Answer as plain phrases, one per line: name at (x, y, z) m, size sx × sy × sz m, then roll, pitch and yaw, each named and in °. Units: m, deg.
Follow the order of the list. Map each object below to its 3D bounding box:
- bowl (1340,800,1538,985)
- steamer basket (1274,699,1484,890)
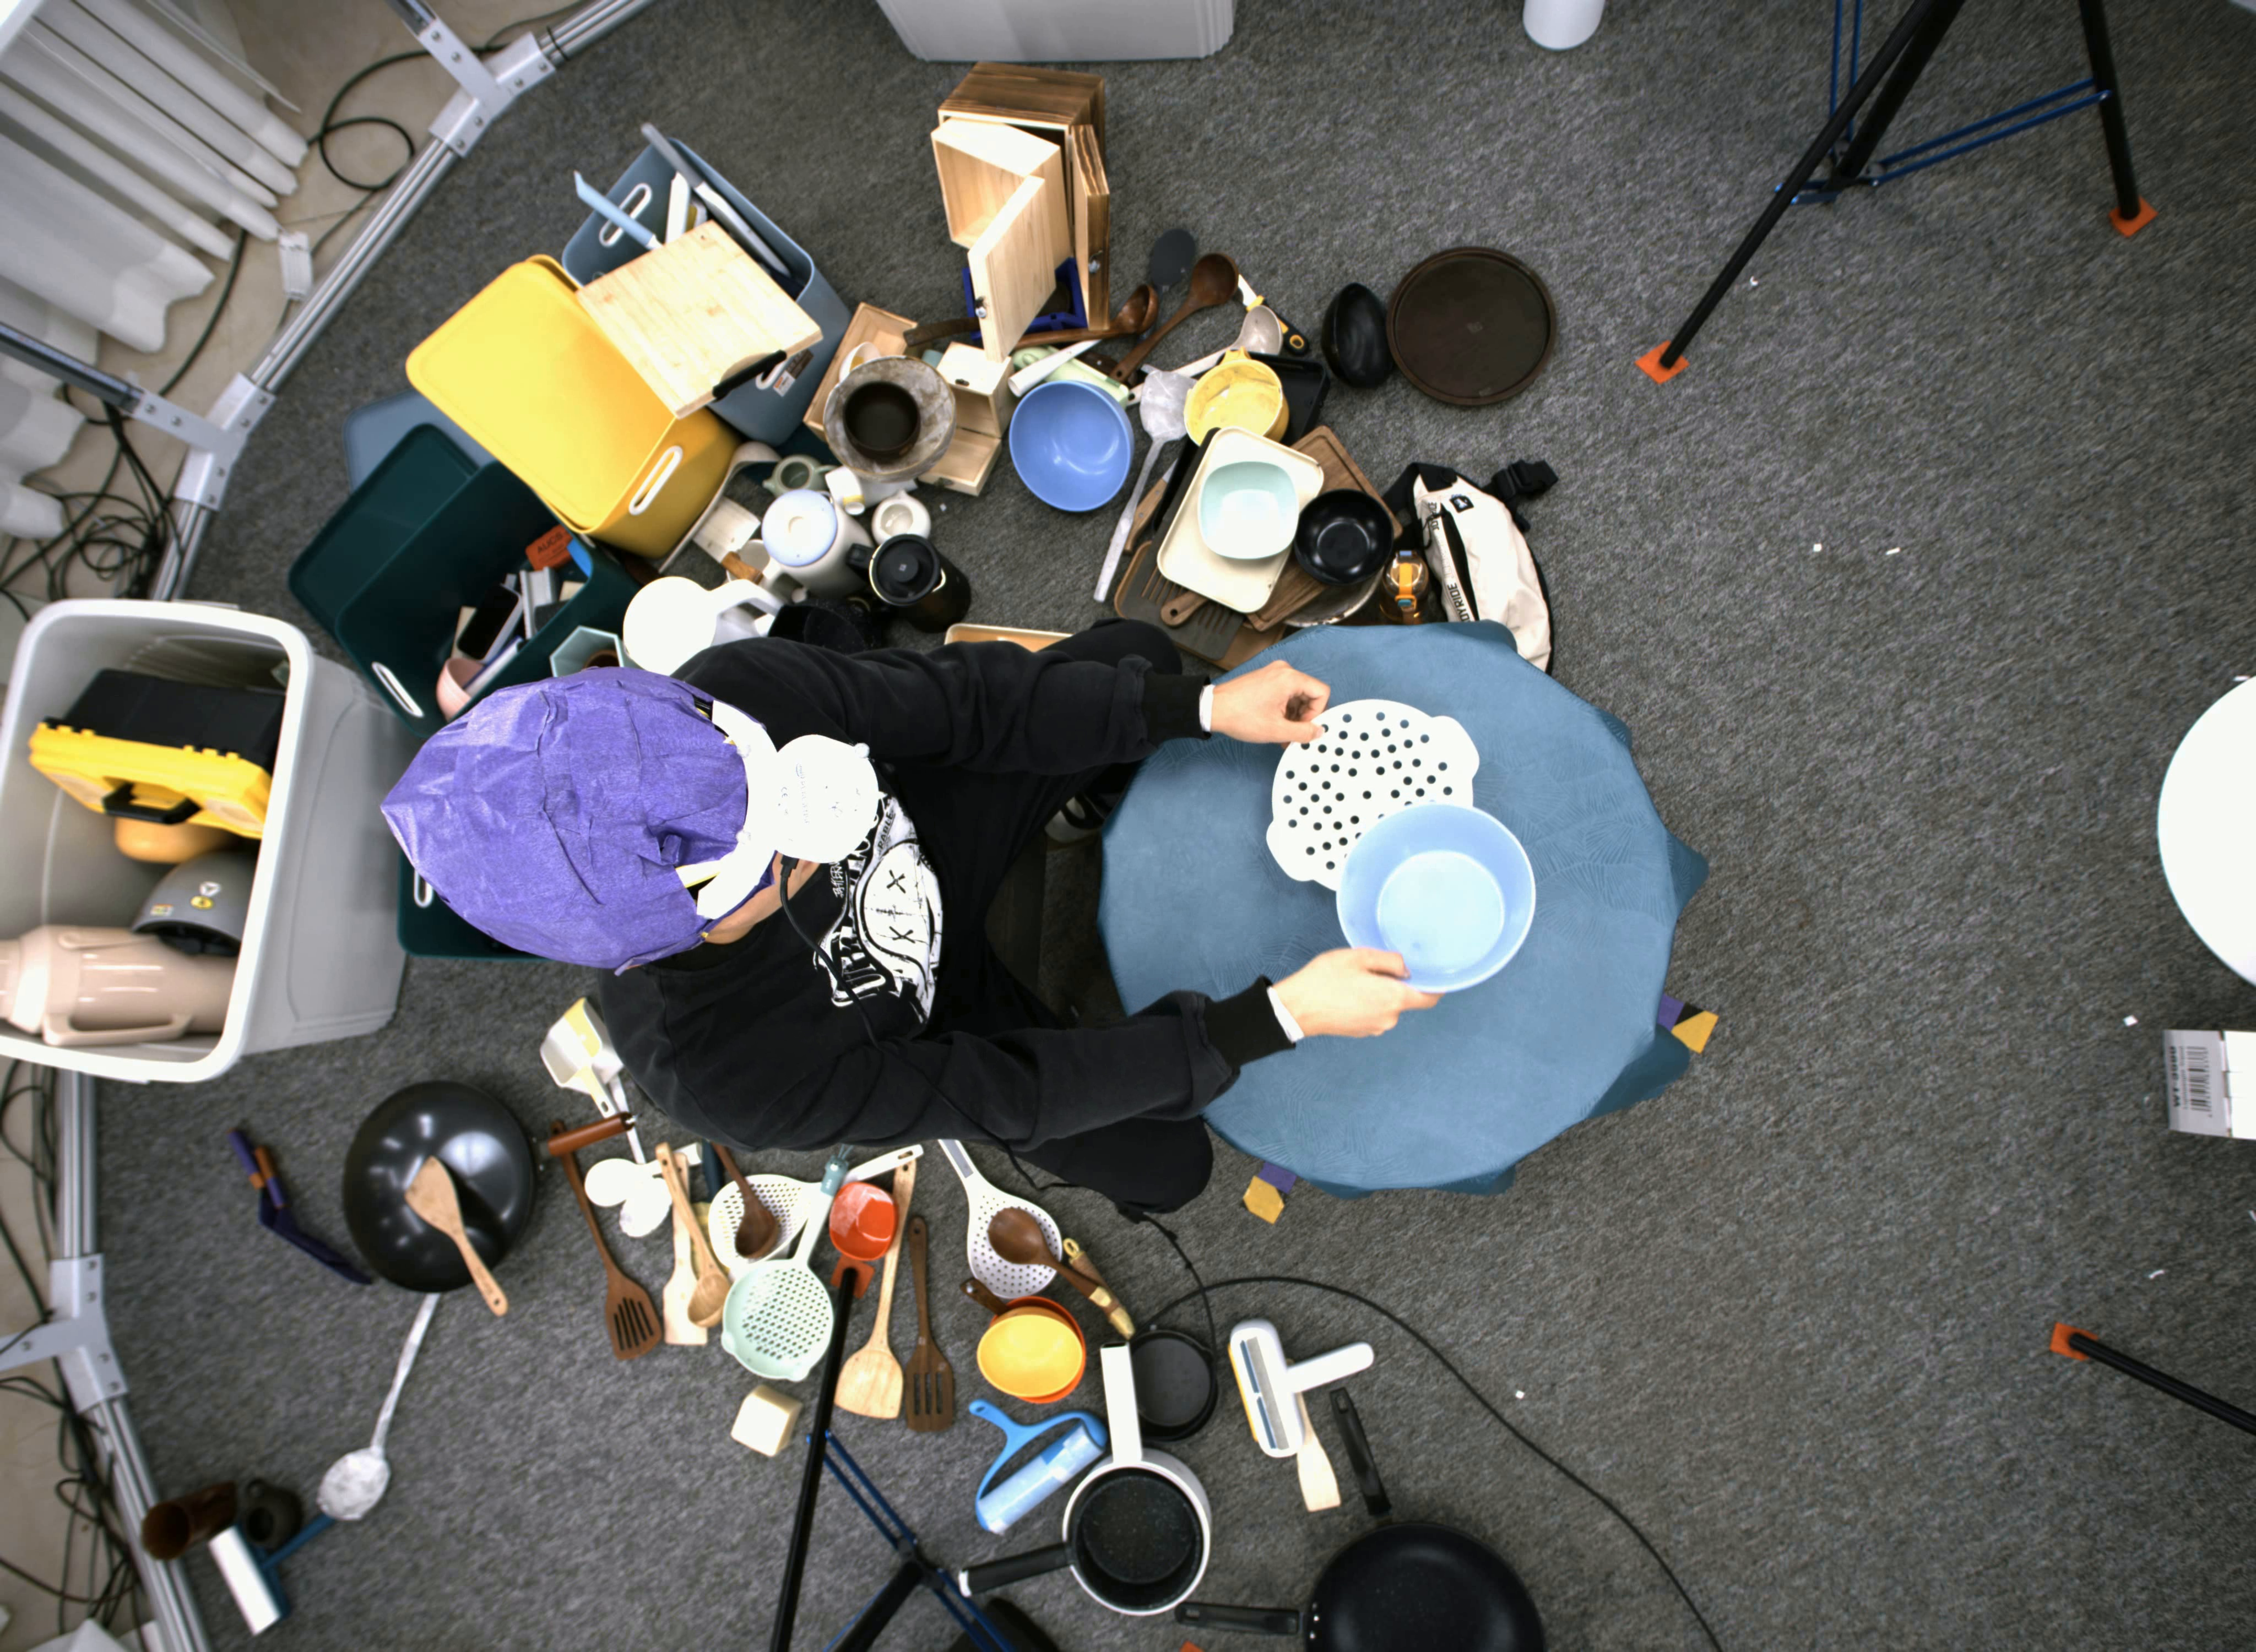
bowl at (0.287, 0.068, 1.263) m, size 0.177 × 0.071 × 0.173 m, roll -7°, pitch 69°, yaw 17°
steamer basket at (0.255, -0.031, 1.424) m, size 0.232 × 0.069 × 0.202 m, roll -34°, pitch 94°, yaw 6°
